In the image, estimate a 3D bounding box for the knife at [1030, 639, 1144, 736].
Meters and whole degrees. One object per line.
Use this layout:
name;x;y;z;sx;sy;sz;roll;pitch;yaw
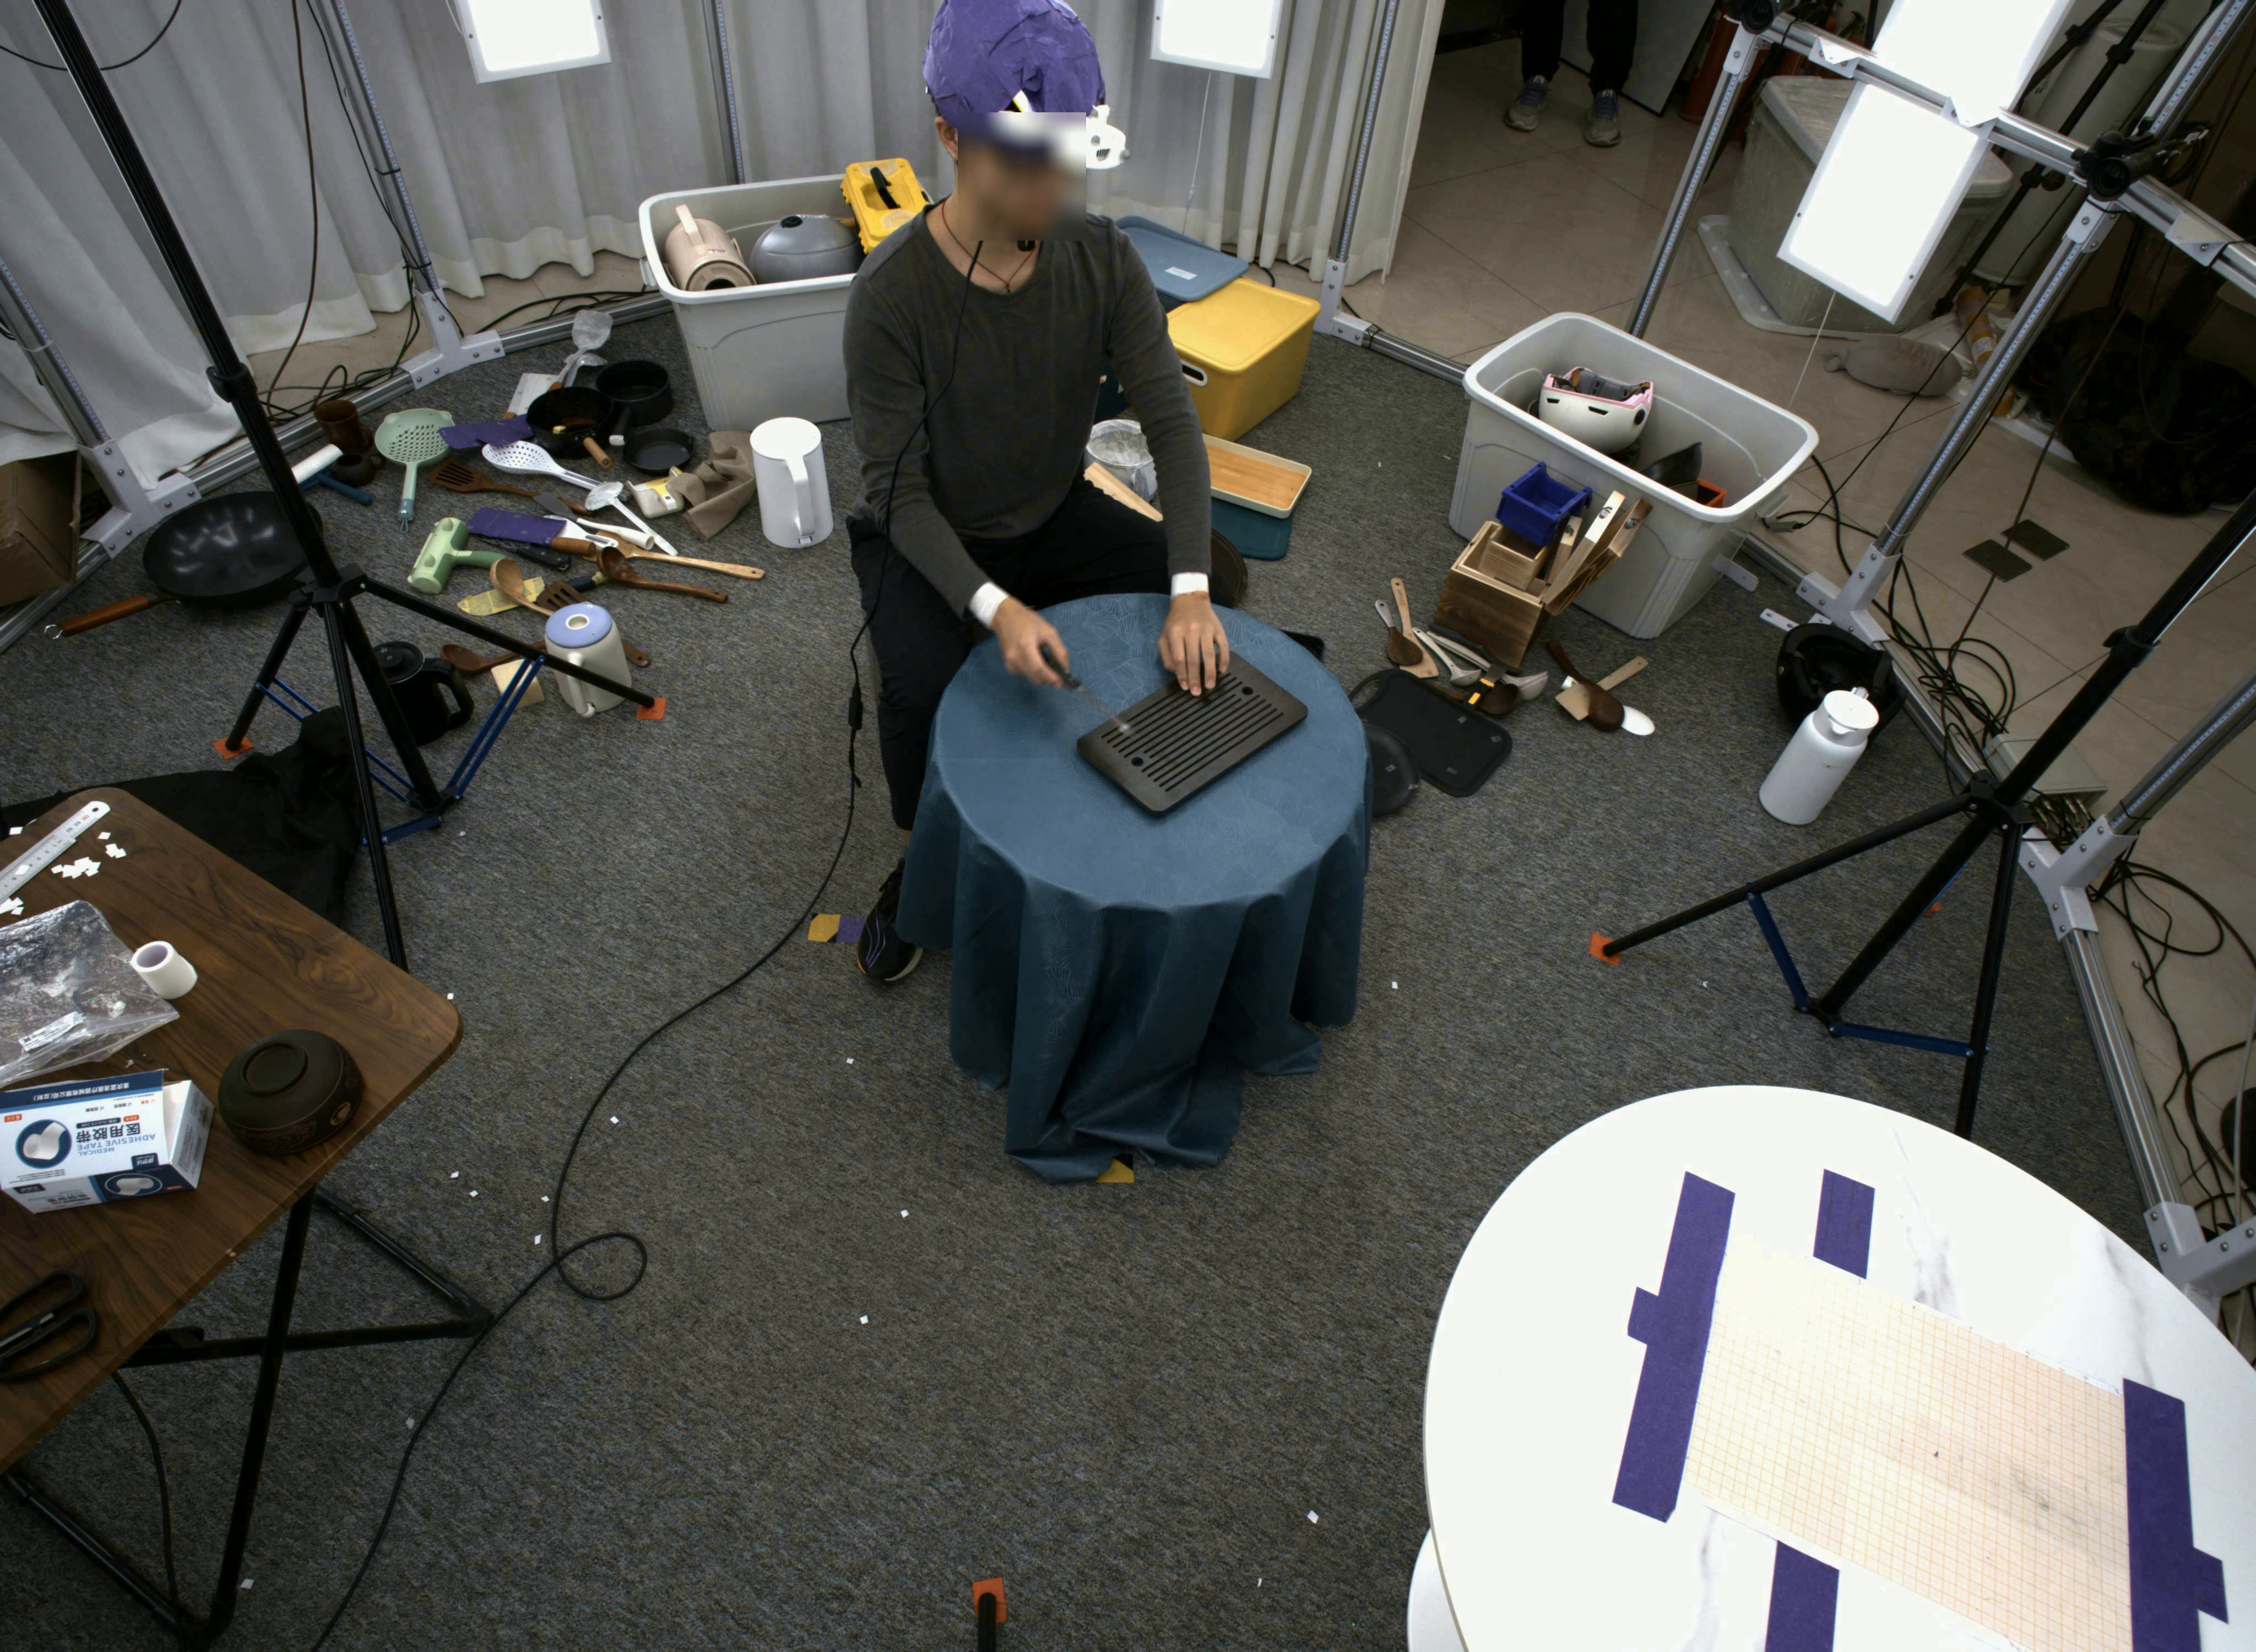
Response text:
knife;-0.058;-0.189;1.739;0.242;0.016;0.024;42;26;30

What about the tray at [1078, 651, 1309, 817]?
tray;0.093;-0.131;1.776;0.308;0.018;0.173;-34;58;-28
